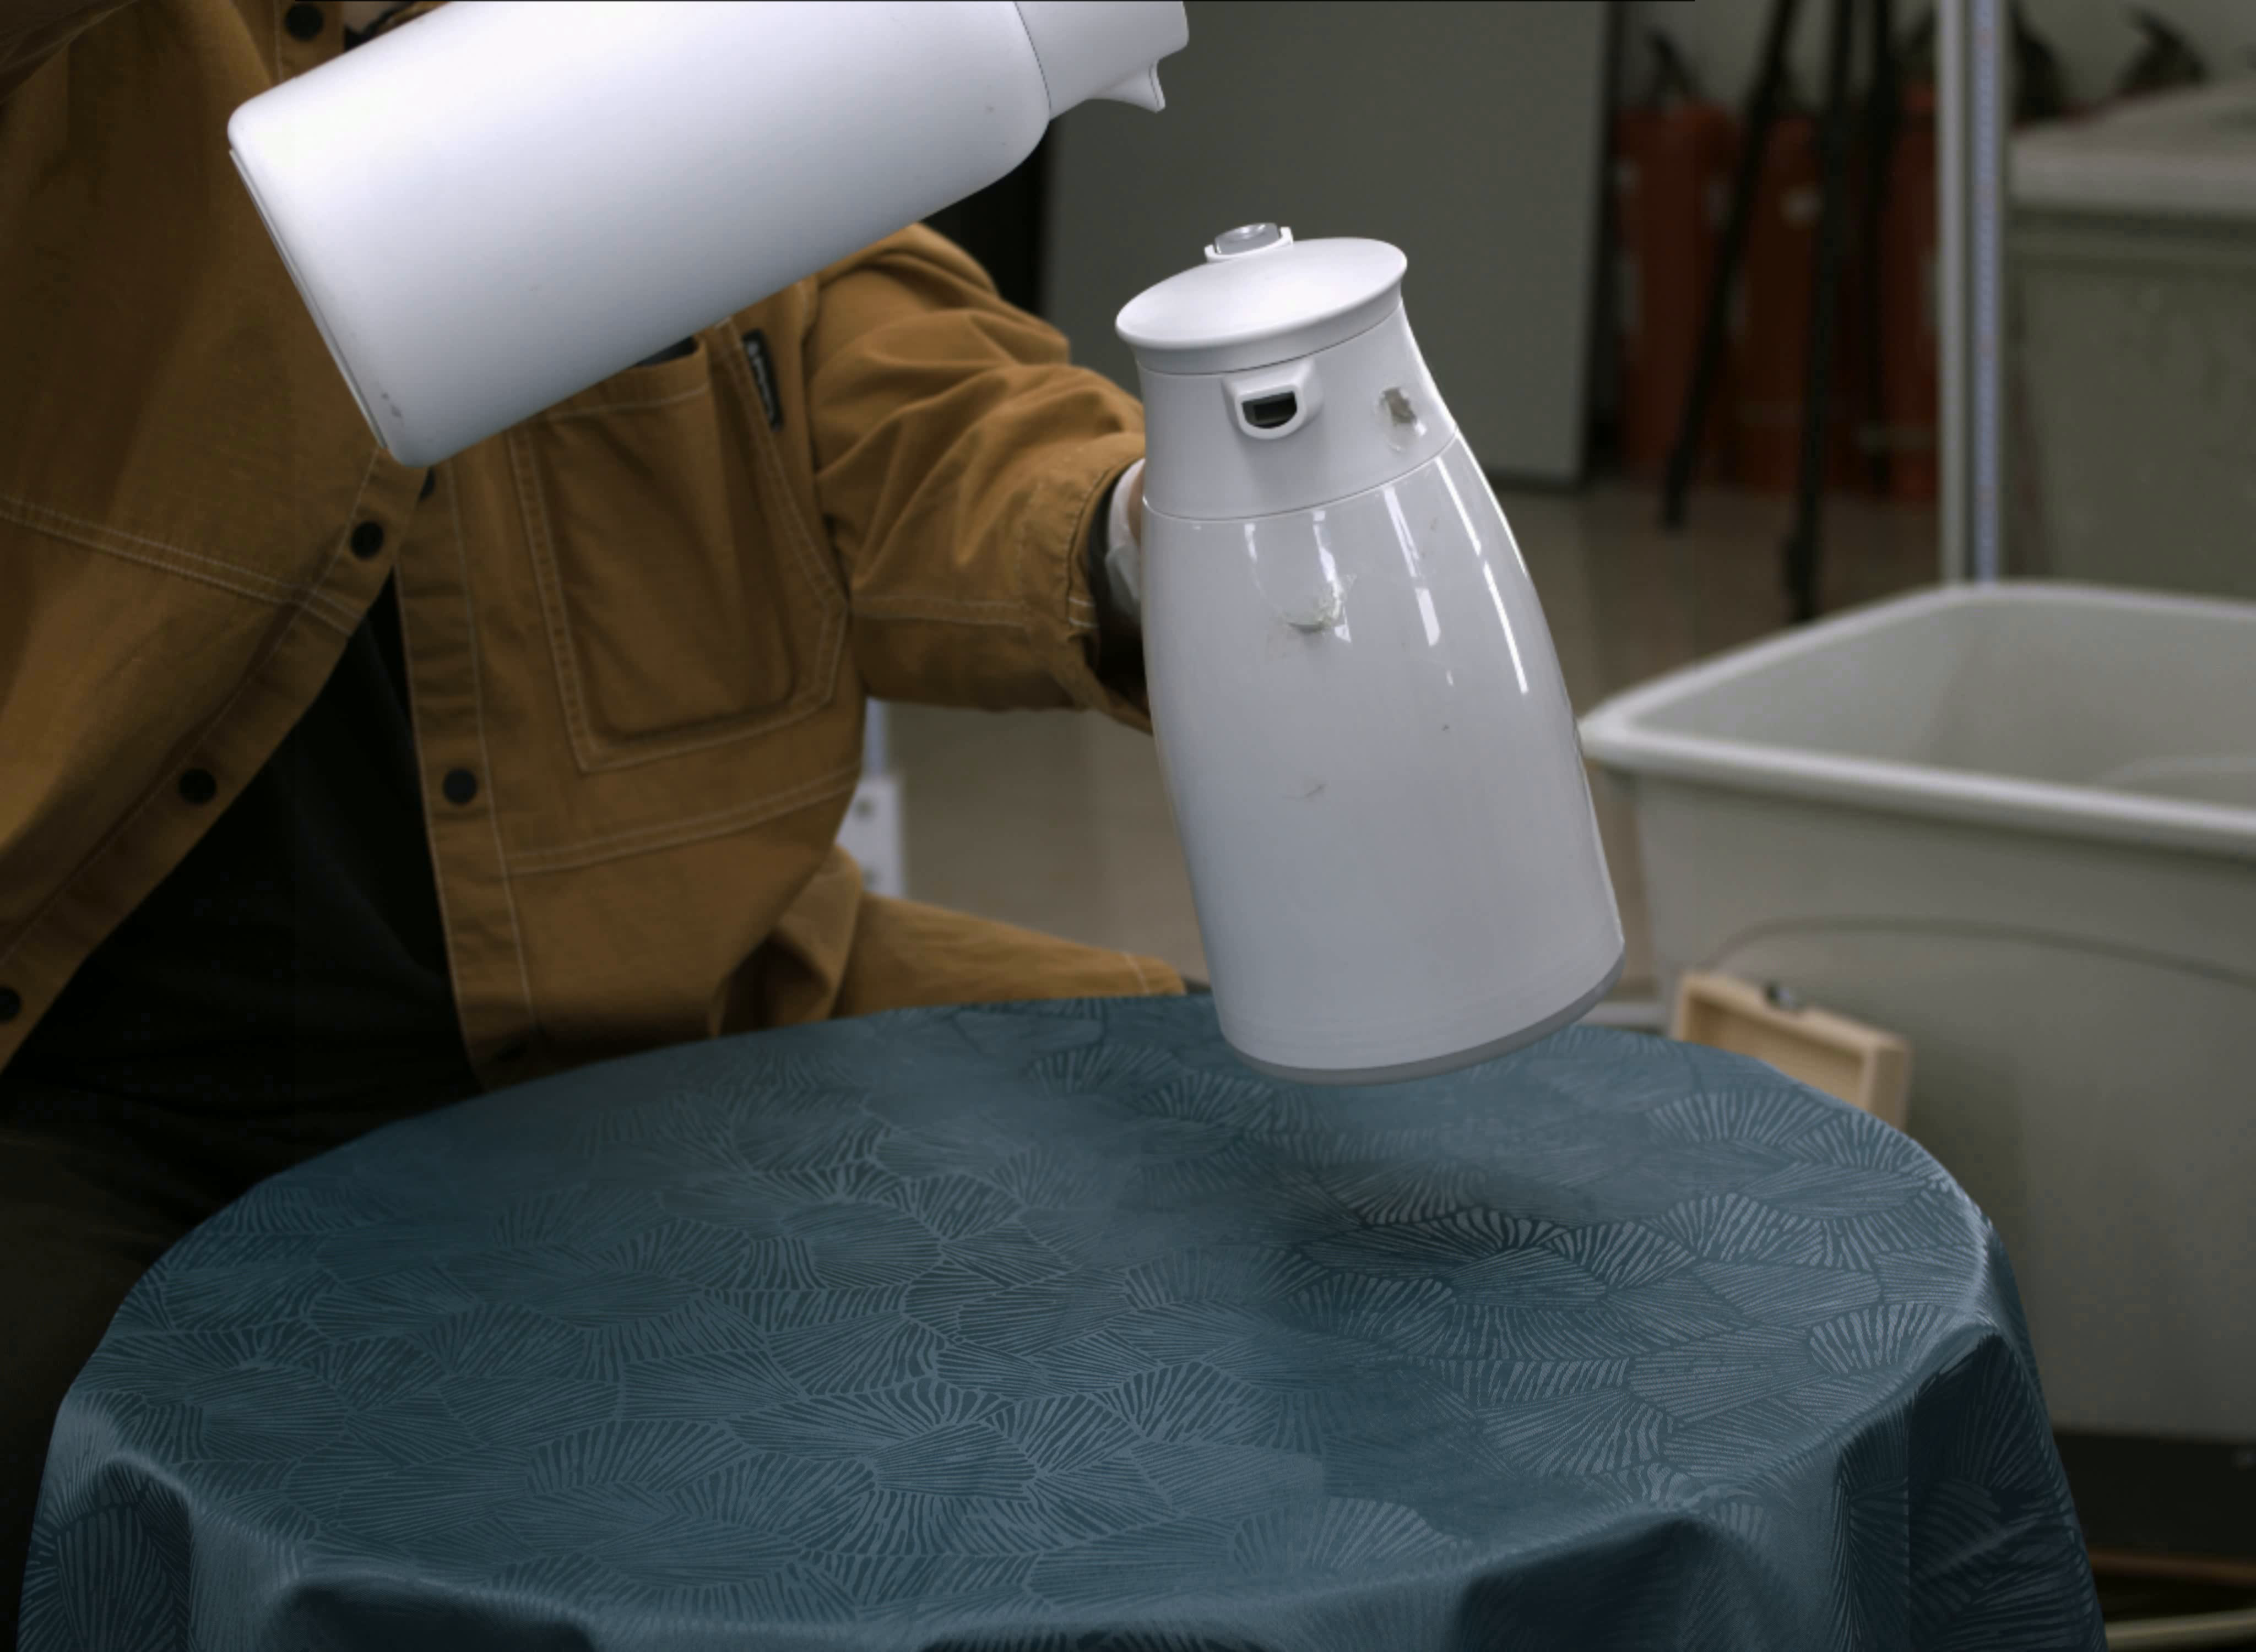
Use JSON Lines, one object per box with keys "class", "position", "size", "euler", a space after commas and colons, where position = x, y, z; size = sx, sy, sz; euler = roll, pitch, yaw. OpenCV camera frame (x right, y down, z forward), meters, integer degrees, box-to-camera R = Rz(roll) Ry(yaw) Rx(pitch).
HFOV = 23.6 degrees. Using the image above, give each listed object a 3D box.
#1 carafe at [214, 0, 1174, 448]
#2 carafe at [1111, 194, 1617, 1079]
{"class": "carafe", "position": [-0.129, -0.232, 1.560], "size": [0.266, 0.172, 0.125], "euler": [-27, 32, -3]}
{"class": "carafe", "position": [0.064, -0.069, 1.686], "size": [0.131, 0.250, 0.168], "euler": [-12, 19, 6]}
